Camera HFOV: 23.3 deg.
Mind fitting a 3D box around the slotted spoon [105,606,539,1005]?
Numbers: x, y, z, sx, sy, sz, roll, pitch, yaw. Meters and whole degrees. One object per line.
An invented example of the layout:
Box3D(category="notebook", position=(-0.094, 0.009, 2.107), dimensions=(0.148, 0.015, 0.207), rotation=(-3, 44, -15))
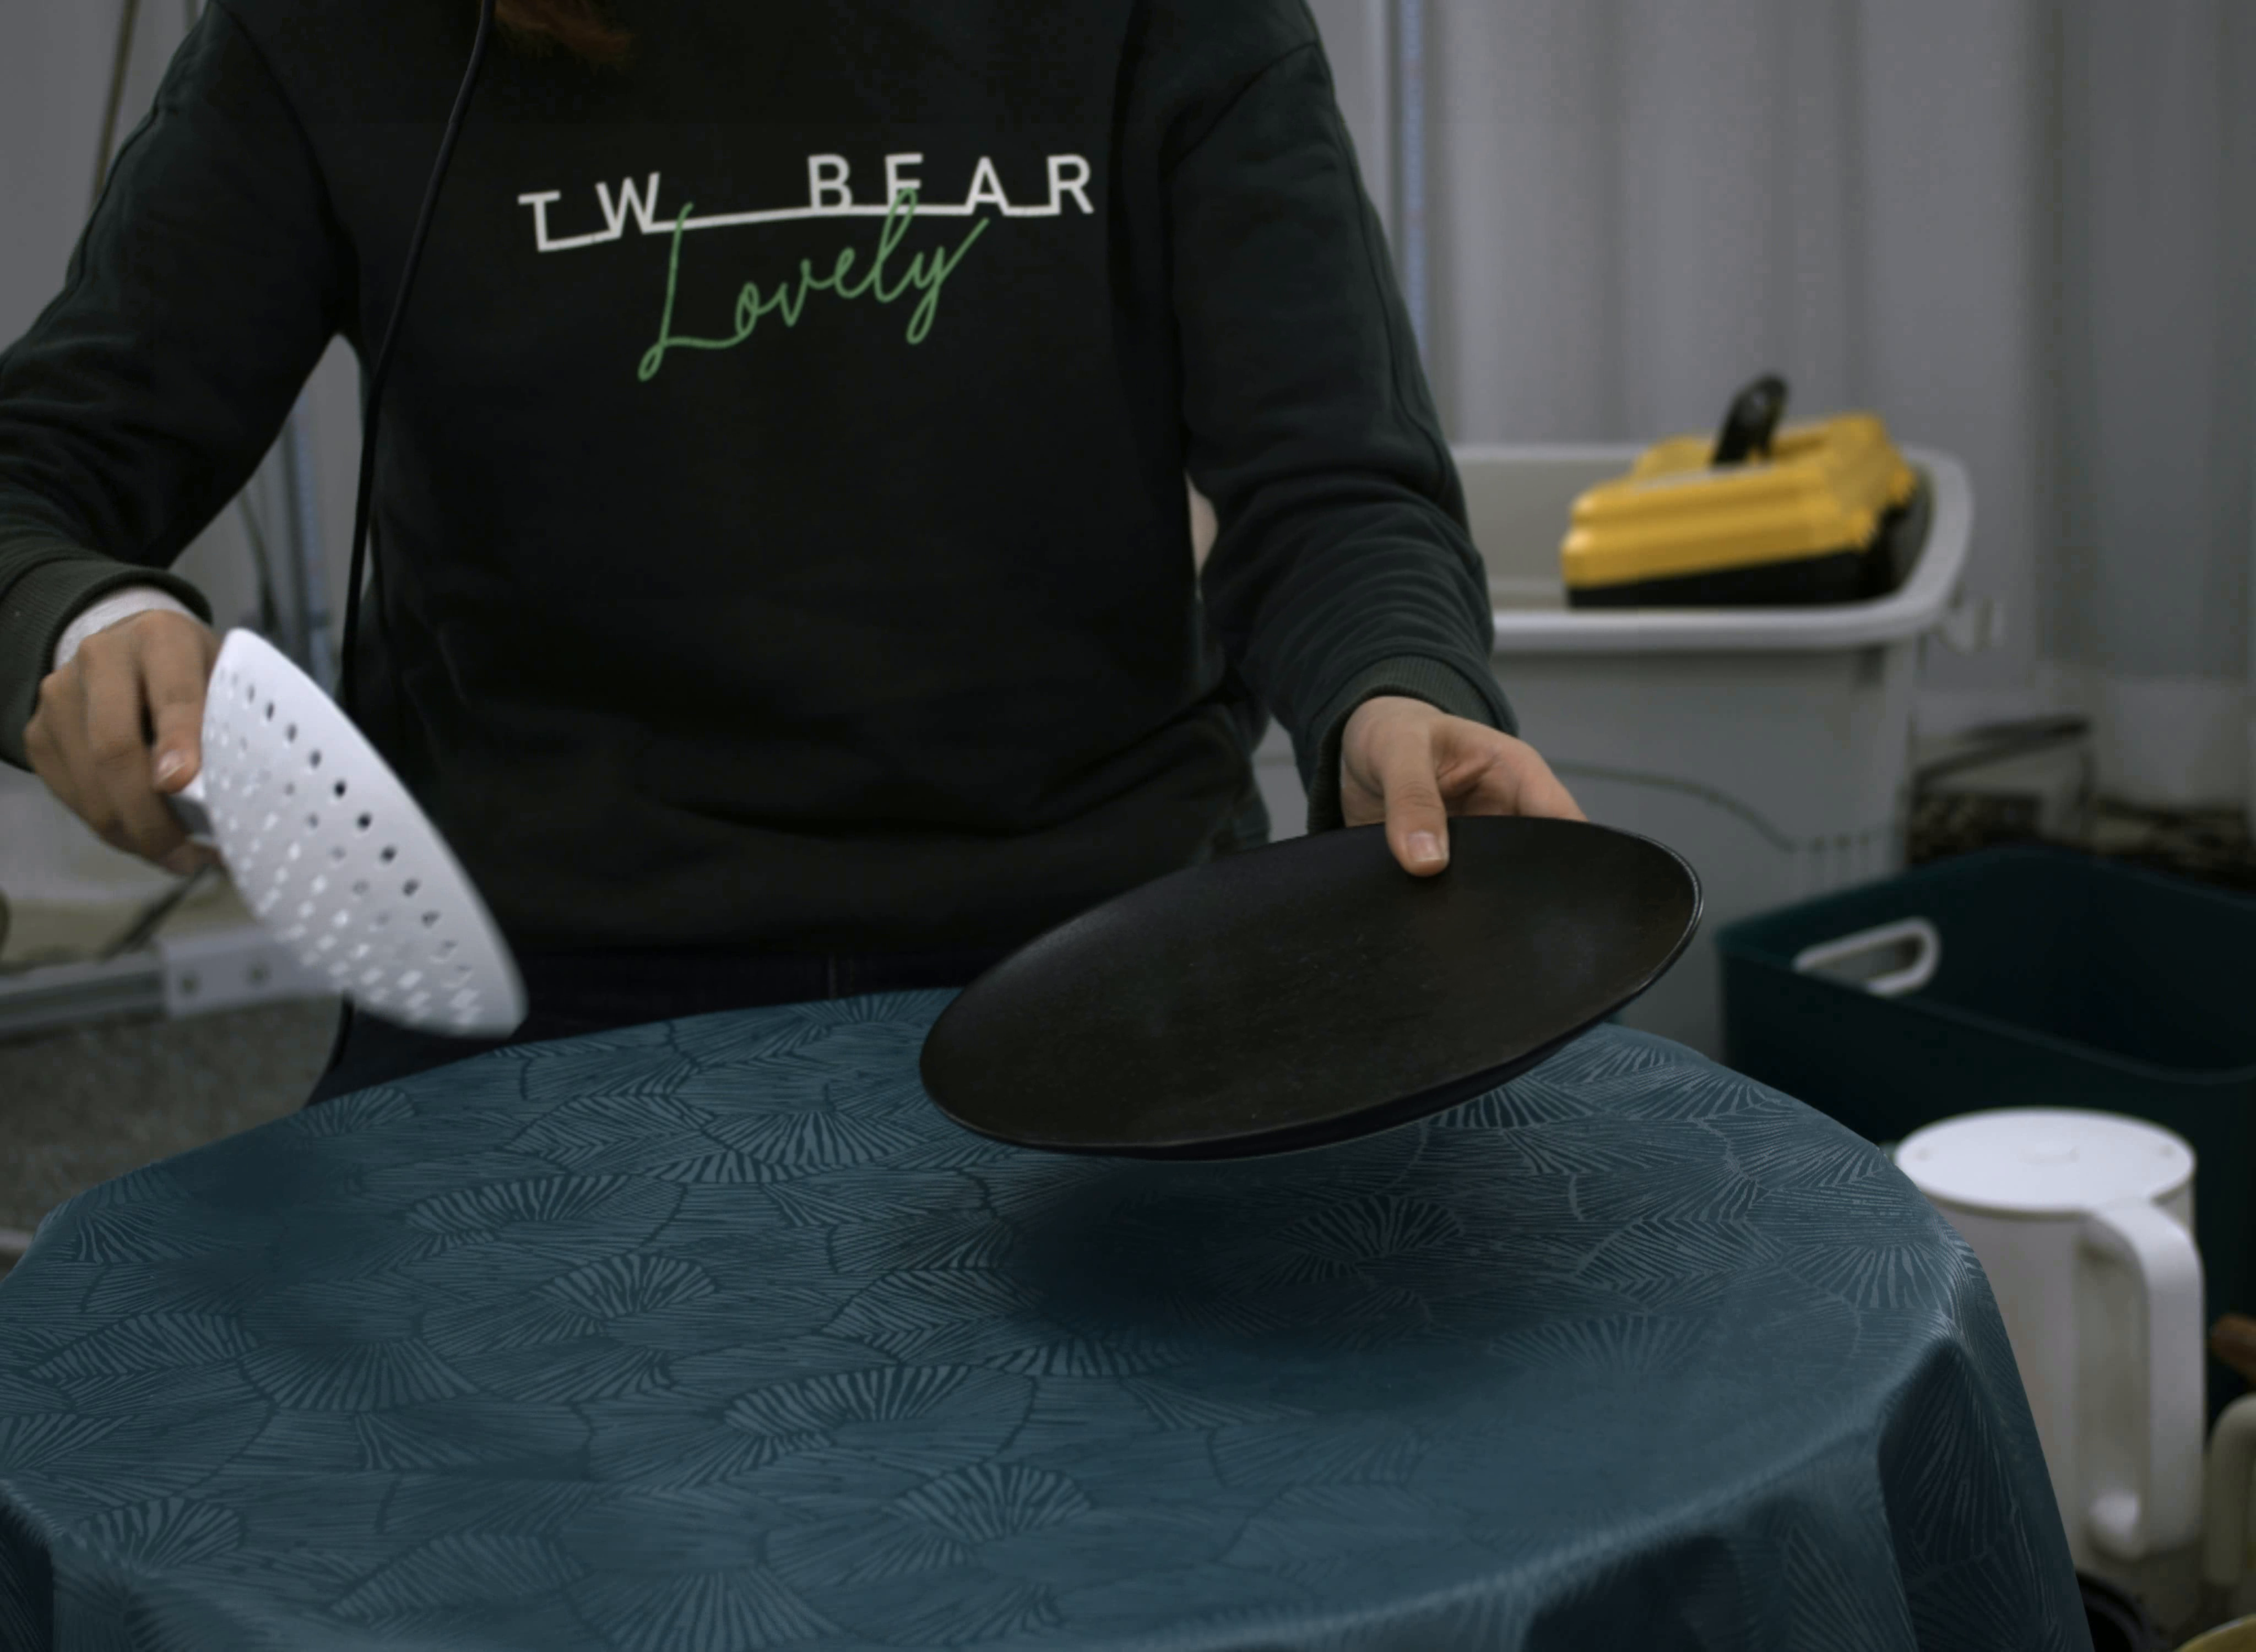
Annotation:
Box3D(category="slotted spoon", position=(-0.255, -0.007, 1.625), dimensions=(0.046, 0.135, 0.351), rotation=(-36, 16, -12))

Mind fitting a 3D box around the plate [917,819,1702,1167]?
Box3D(category="plate", position=(0.056, 0.053, 1.656), dimensions=(0.243, 0.023, 0.246), rotation=(-13, 18, 4))
